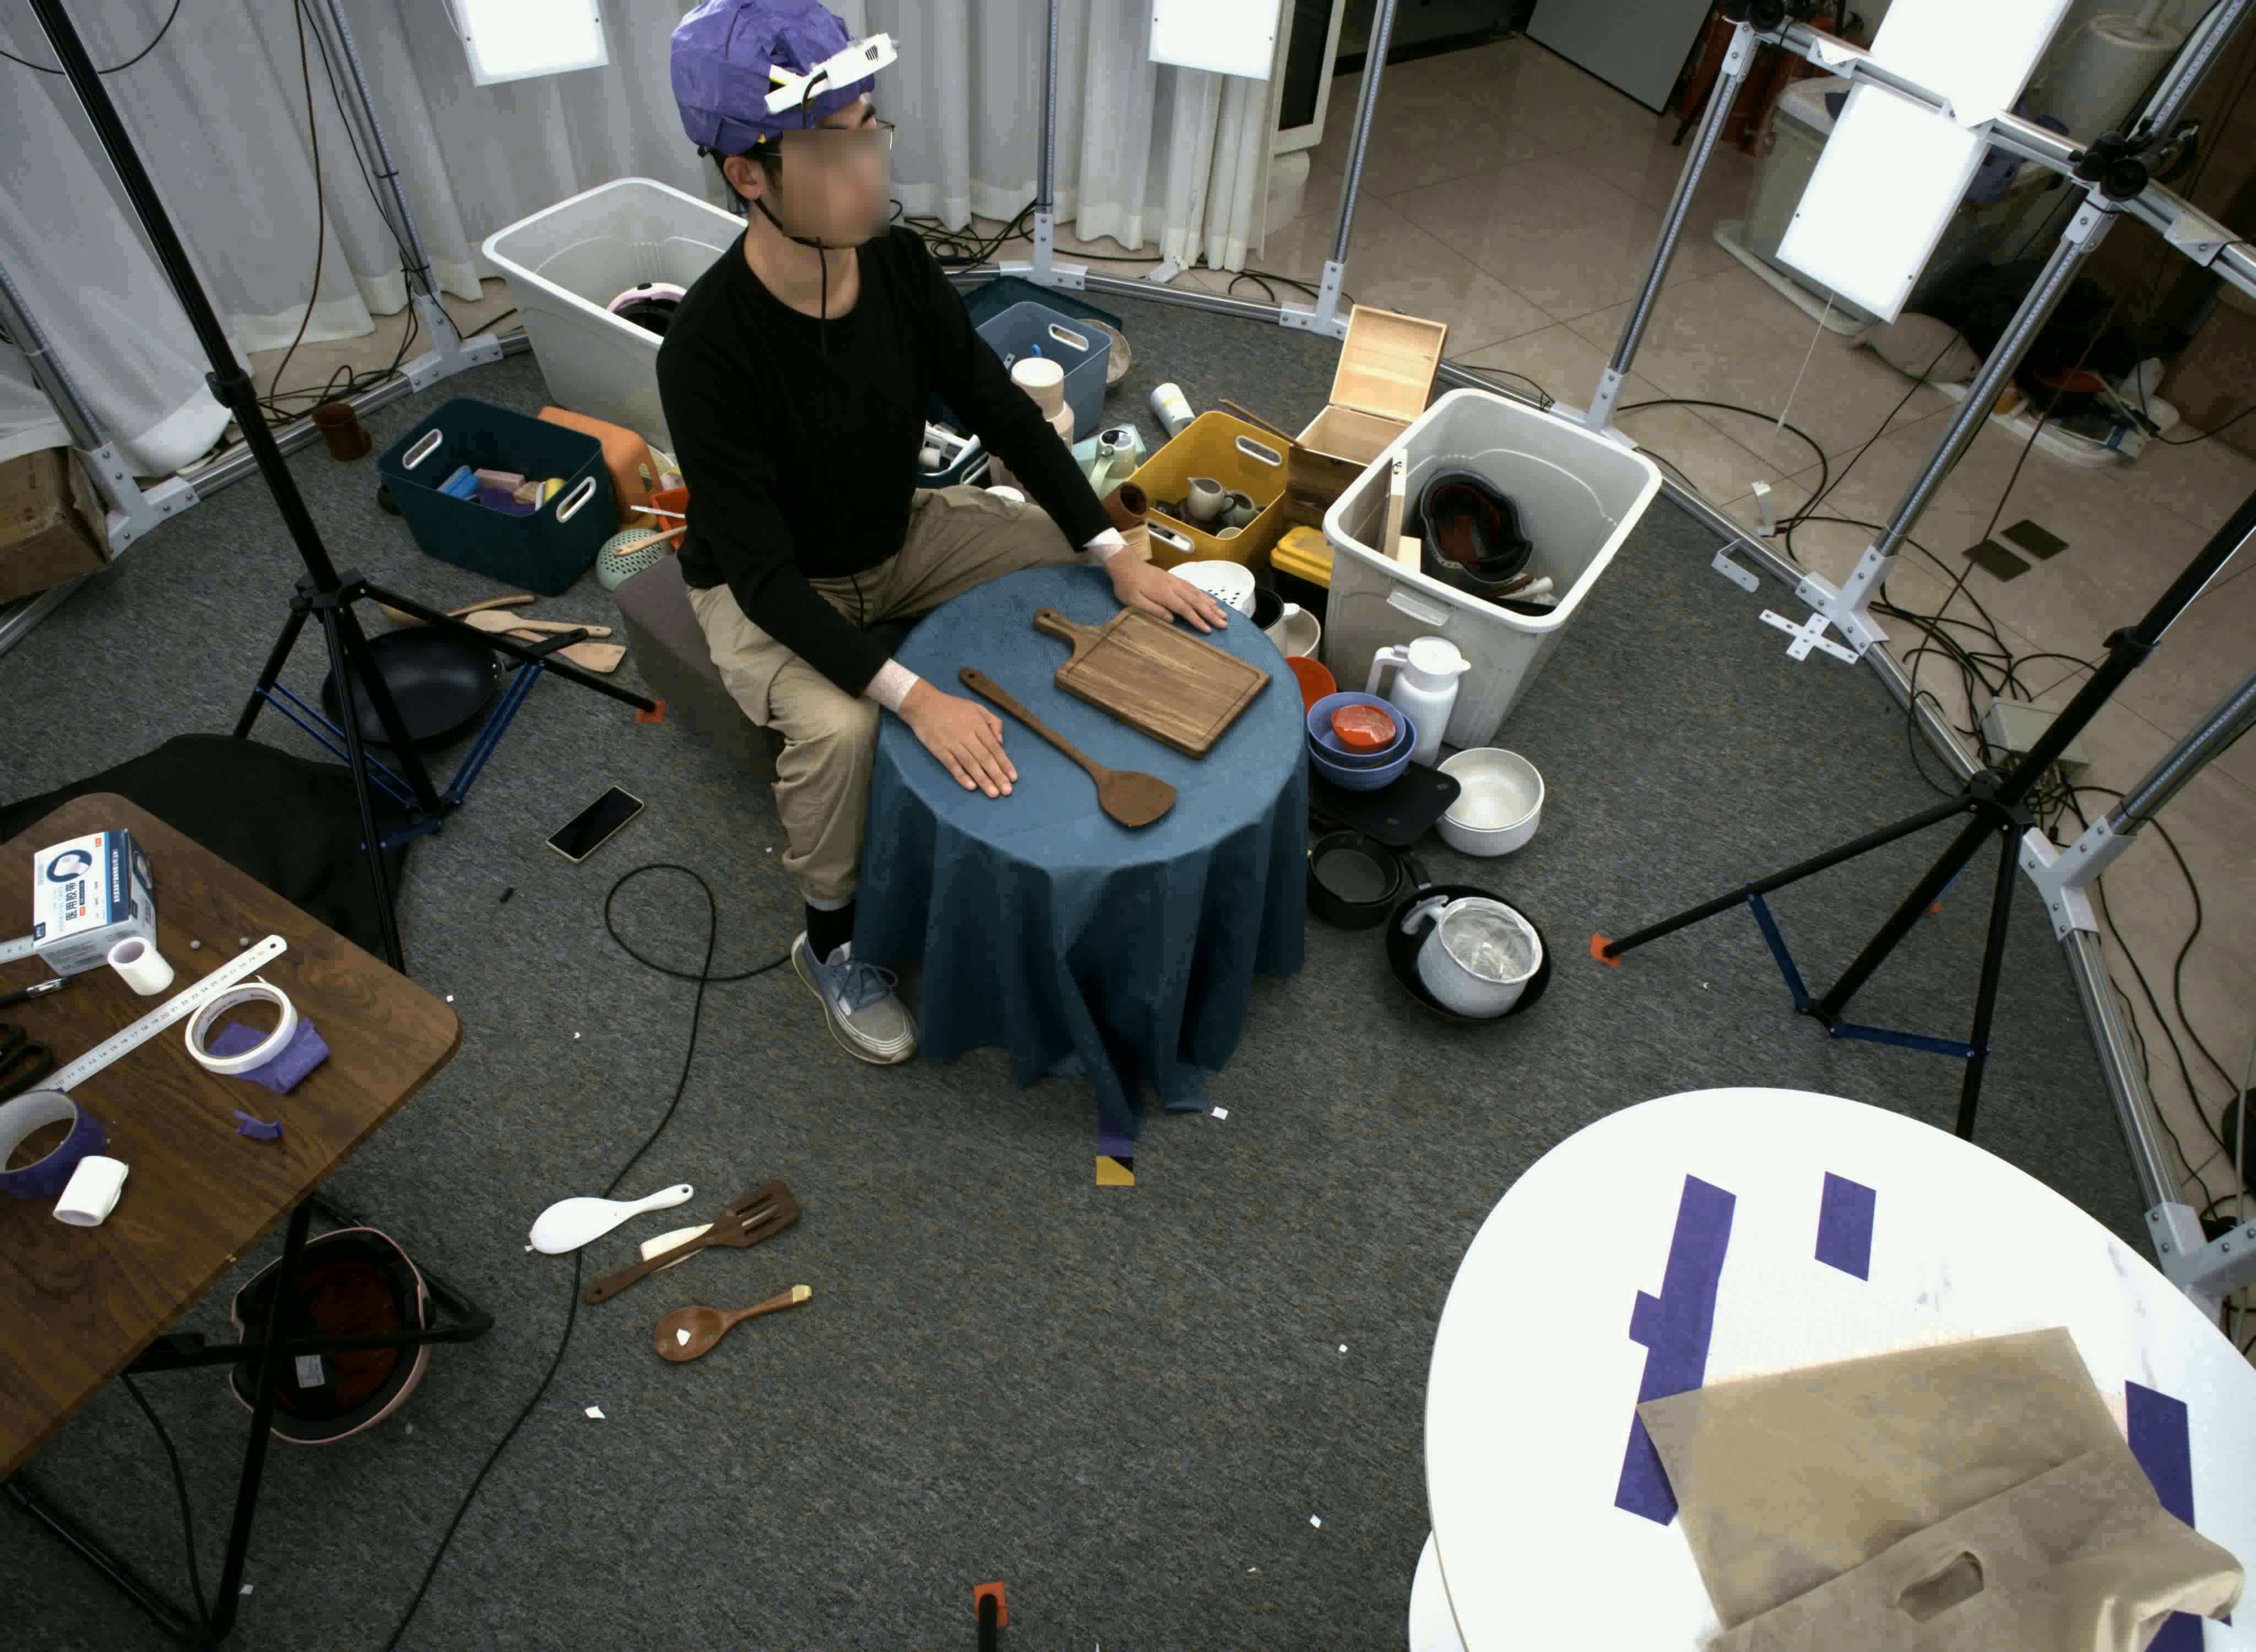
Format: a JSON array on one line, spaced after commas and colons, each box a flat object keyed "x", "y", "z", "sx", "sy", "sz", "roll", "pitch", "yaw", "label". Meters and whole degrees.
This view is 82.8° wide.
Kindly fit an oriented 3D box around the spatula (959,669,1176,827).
[{"x": -0.098, "y": -0.118, "z": 1.756, "sx": 0.391, "sy": 0.015, "sz": 0.097, "roll": 37, "pitch": 56, "yaw": 25, "label": "spatula"}]

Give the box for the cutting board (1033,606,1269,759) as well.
[{"x": 0.009, "y": -0.235, "z": 1.861, "sx": 0.355, "sy": 0.022, "sz": 0.204, "roll": 29, "pitch": 53, "yaw": 20, "label": "cutting board"}]
